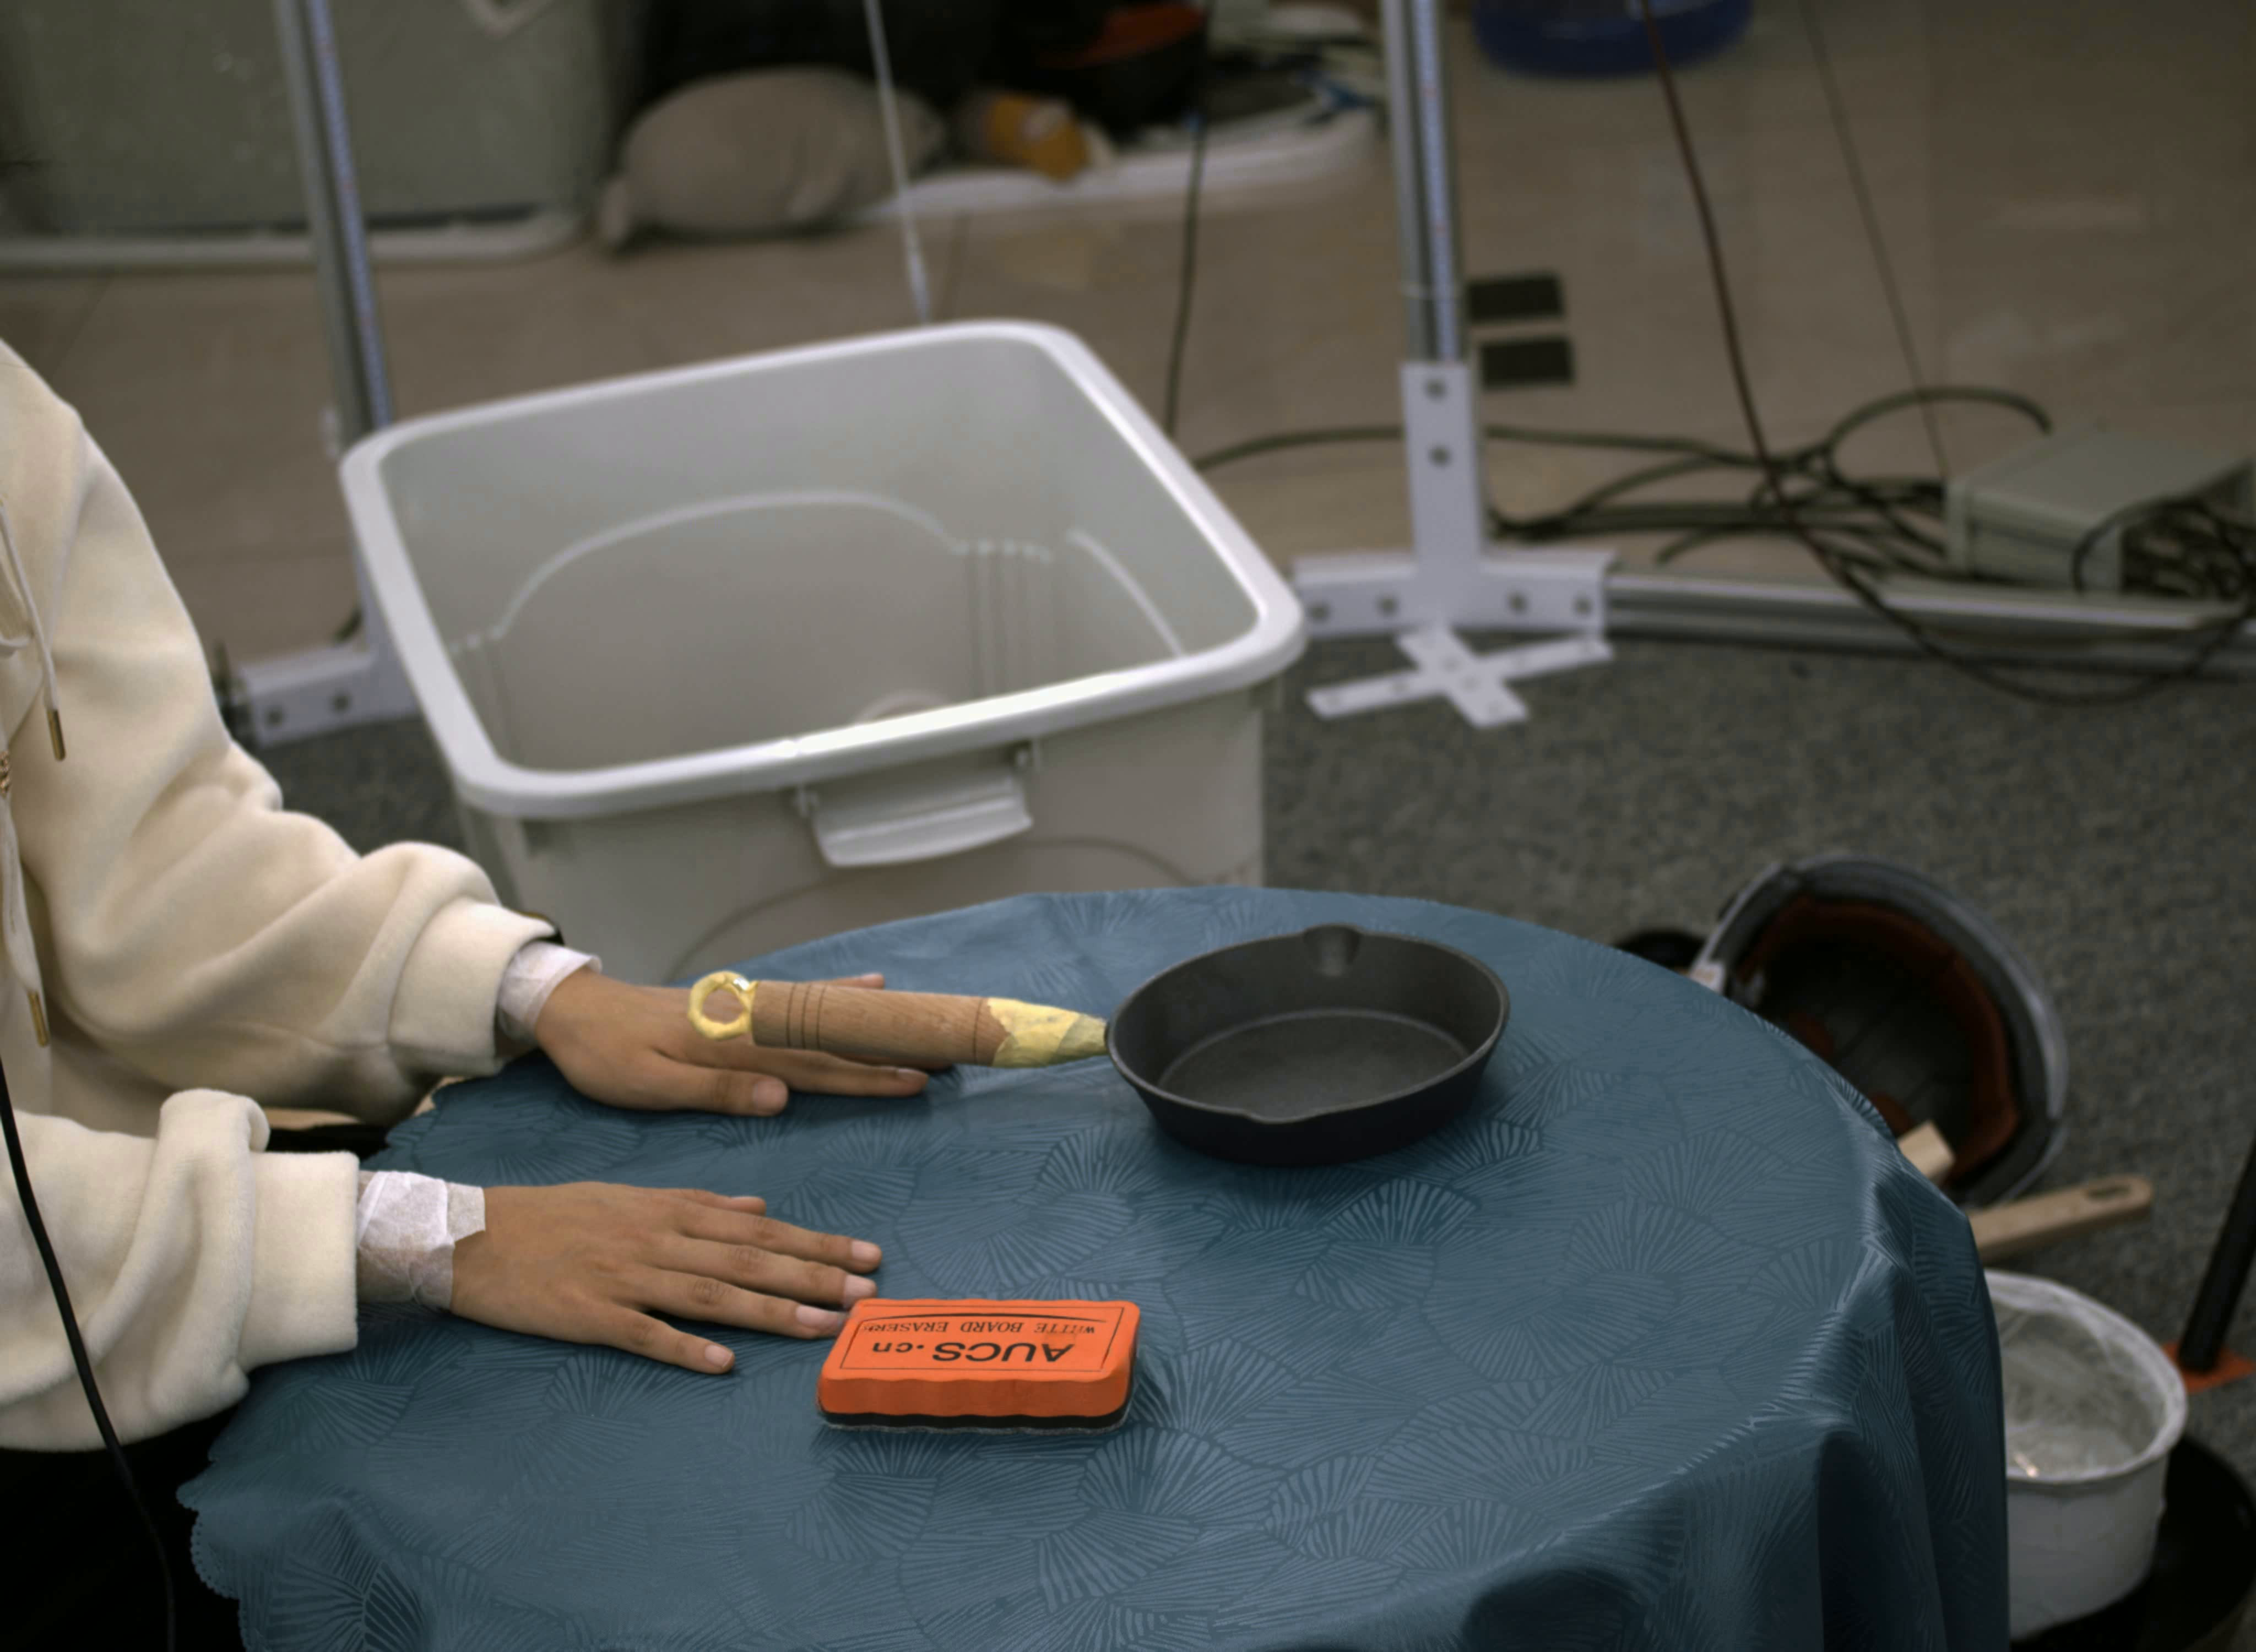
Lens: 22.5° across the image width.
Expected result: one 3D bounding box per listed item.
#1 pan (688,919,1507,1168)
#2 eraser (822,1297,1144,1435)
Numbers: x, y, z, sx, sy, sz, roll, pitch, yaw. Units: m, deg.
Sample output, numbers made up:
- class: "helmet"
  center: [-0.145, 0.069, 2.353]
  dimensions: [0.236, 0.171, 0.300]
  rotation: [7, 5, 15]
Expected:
- class: "pan"
  center: [-0.013, 0.083, 2.212]
  dimensions: [0.323, 0.050, 0.166]
  rotation: [0, 26, 11]
- class: "eraser"
  center: [-0.051, 0.192, 2.019]
  dimensions: [0.108, 0.023, 0.058]
  rotation: [0, 26, 14]
